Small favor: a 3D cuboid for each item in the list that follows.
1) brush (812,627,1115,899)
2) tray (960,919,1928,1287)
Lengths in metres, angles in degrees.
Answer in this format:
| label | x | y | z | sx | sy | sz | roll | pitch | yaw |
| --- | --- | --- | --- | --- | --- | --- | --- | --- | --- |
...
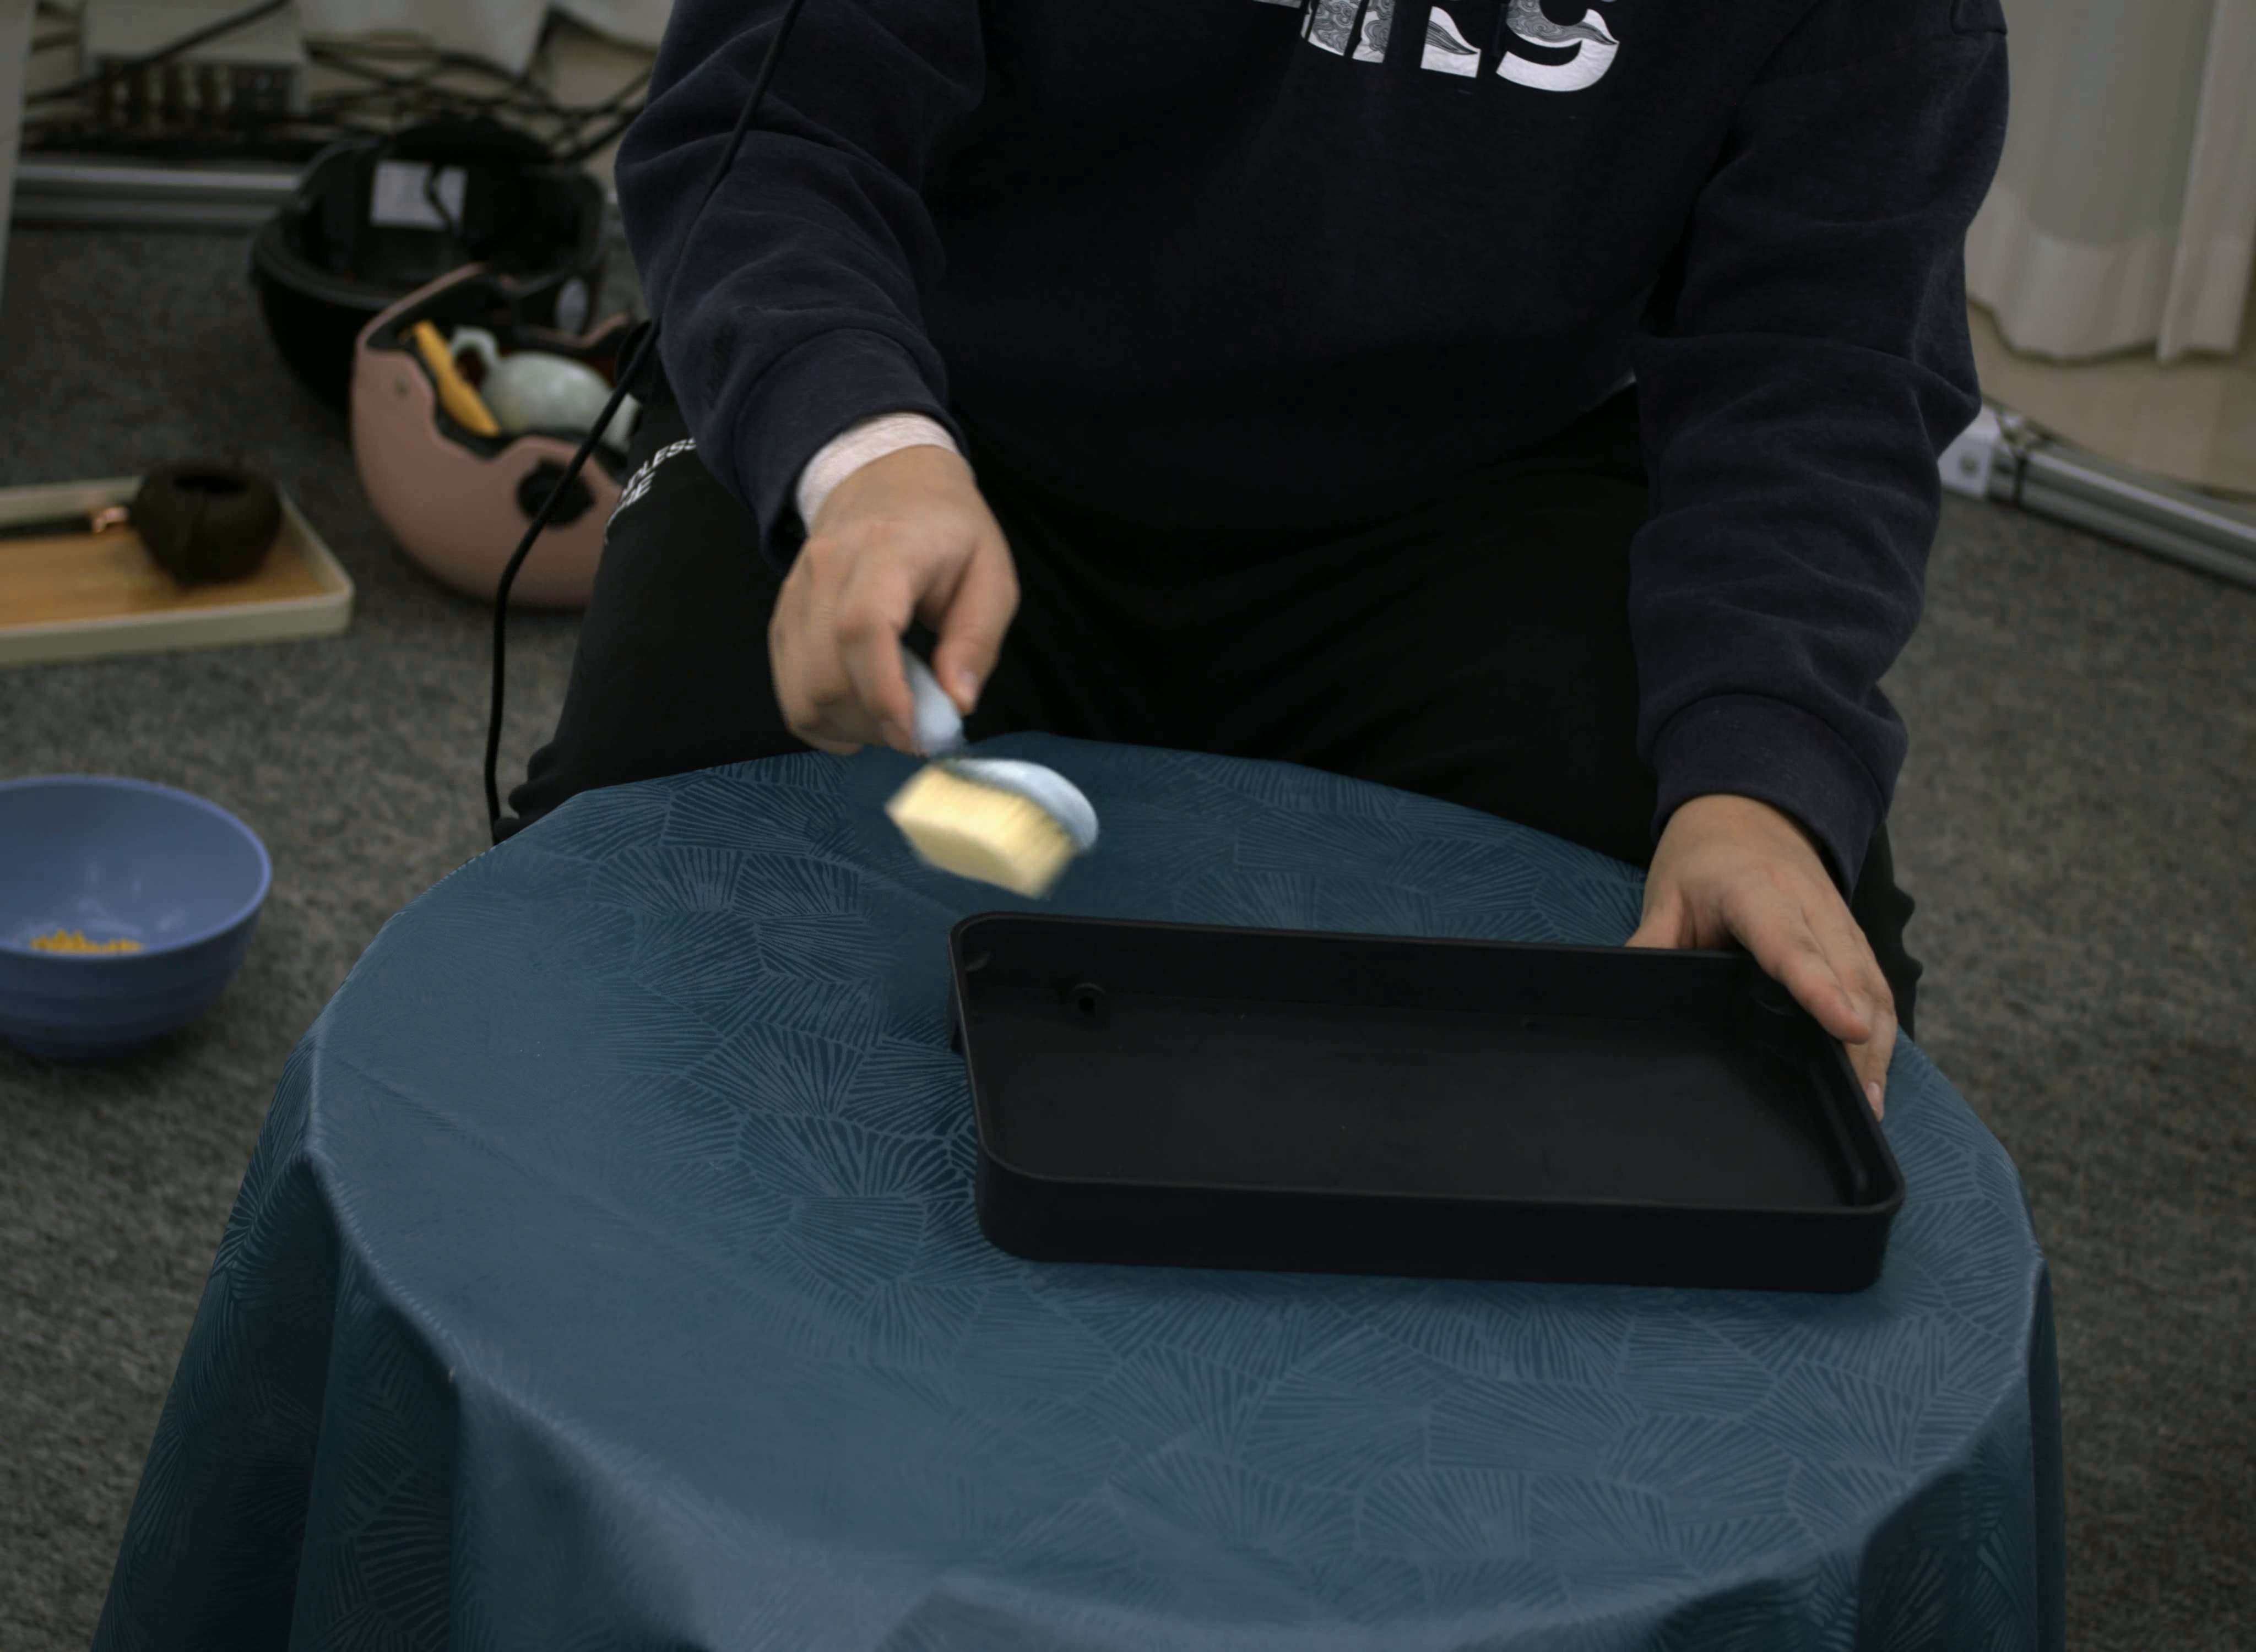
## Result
| label | x | y | z | sx | sy | sz | roll | pitch | yaw |
| --- | --- | --- | --- | --- | --- | --- | --- | --- | --- |
| brush | -0.068 | -0.025 | 1.831 | 0.037 | 0.049 | 0.230 | 45 | -2 | -30 |
| tray | 0.104 | 0.095 | 1.847 | 0.316 | 0.037 | 0.185 | 2 | 26 | -9 |
